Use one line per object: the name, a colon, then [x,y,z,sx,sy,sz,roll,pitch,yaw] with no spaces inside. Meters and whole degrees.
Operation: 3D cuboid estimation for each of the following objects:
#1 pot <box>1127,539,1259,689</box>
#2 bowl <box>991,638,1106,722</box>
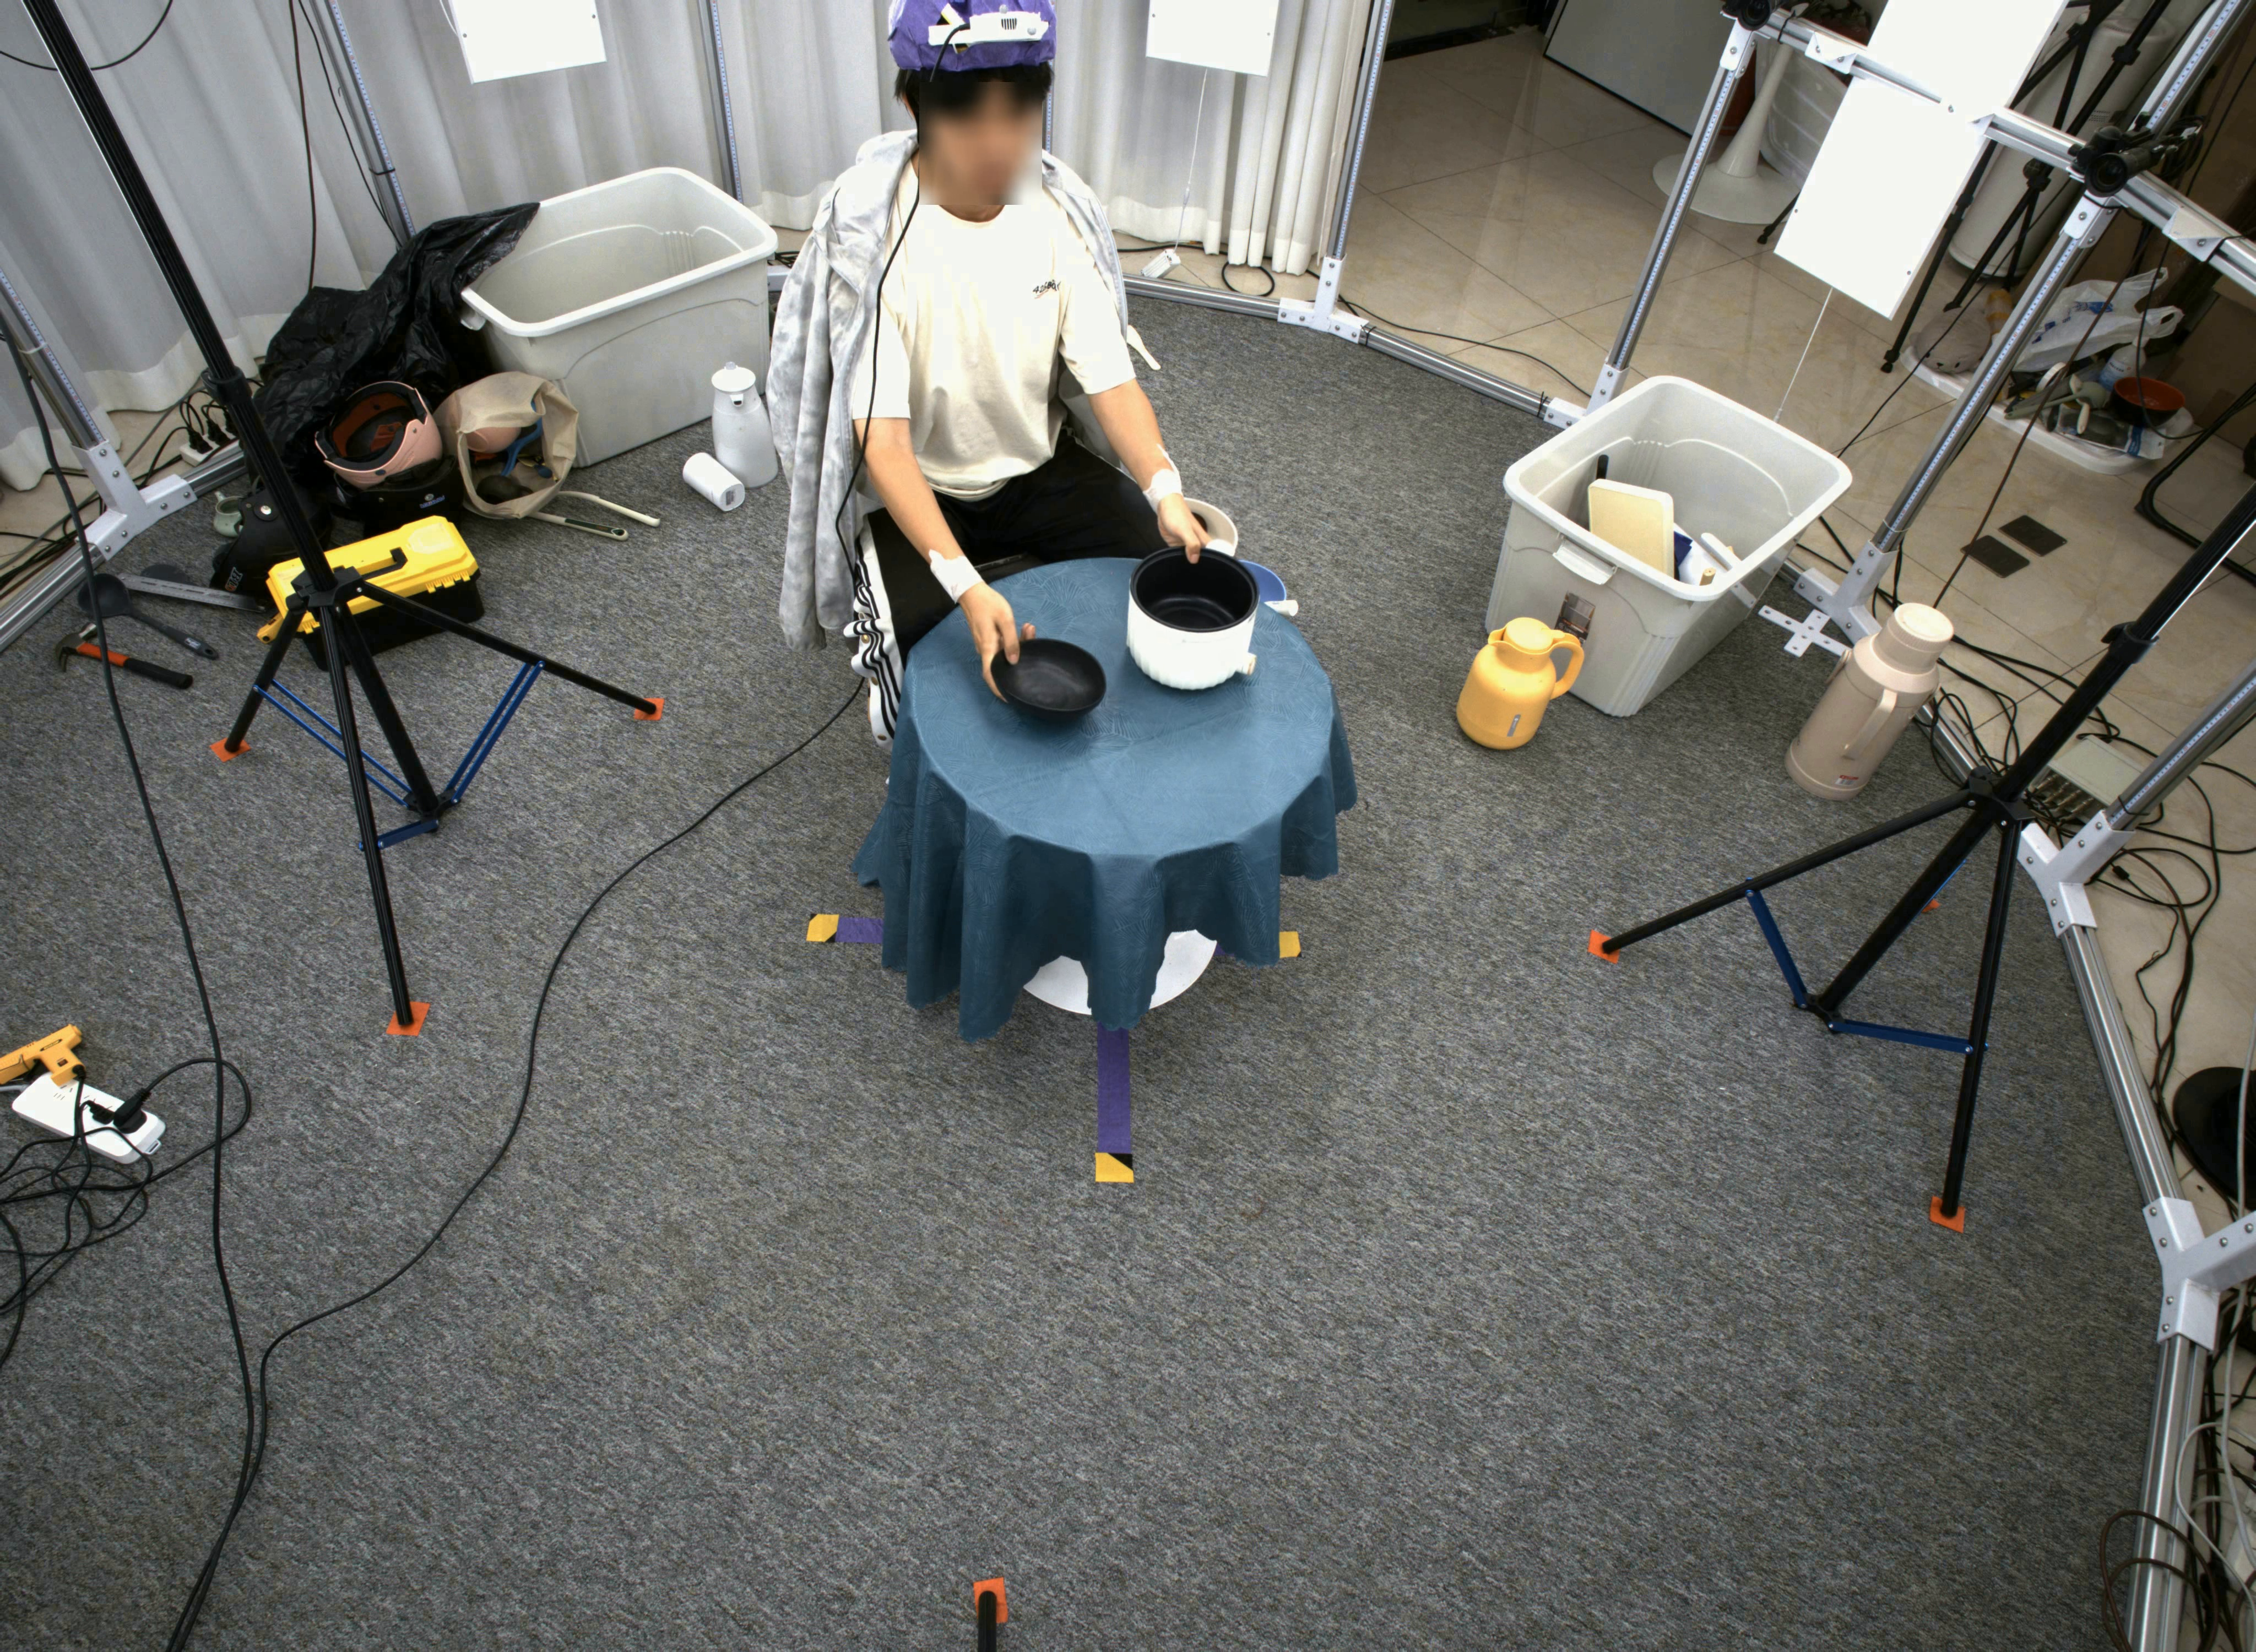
pot: [0.094,-0.290,1.830,0.191,0.139,0.245,17,50,15]
bowl: [-0.112,-0.191,1.777,0.172,0.065,0.139,26,50,18]
